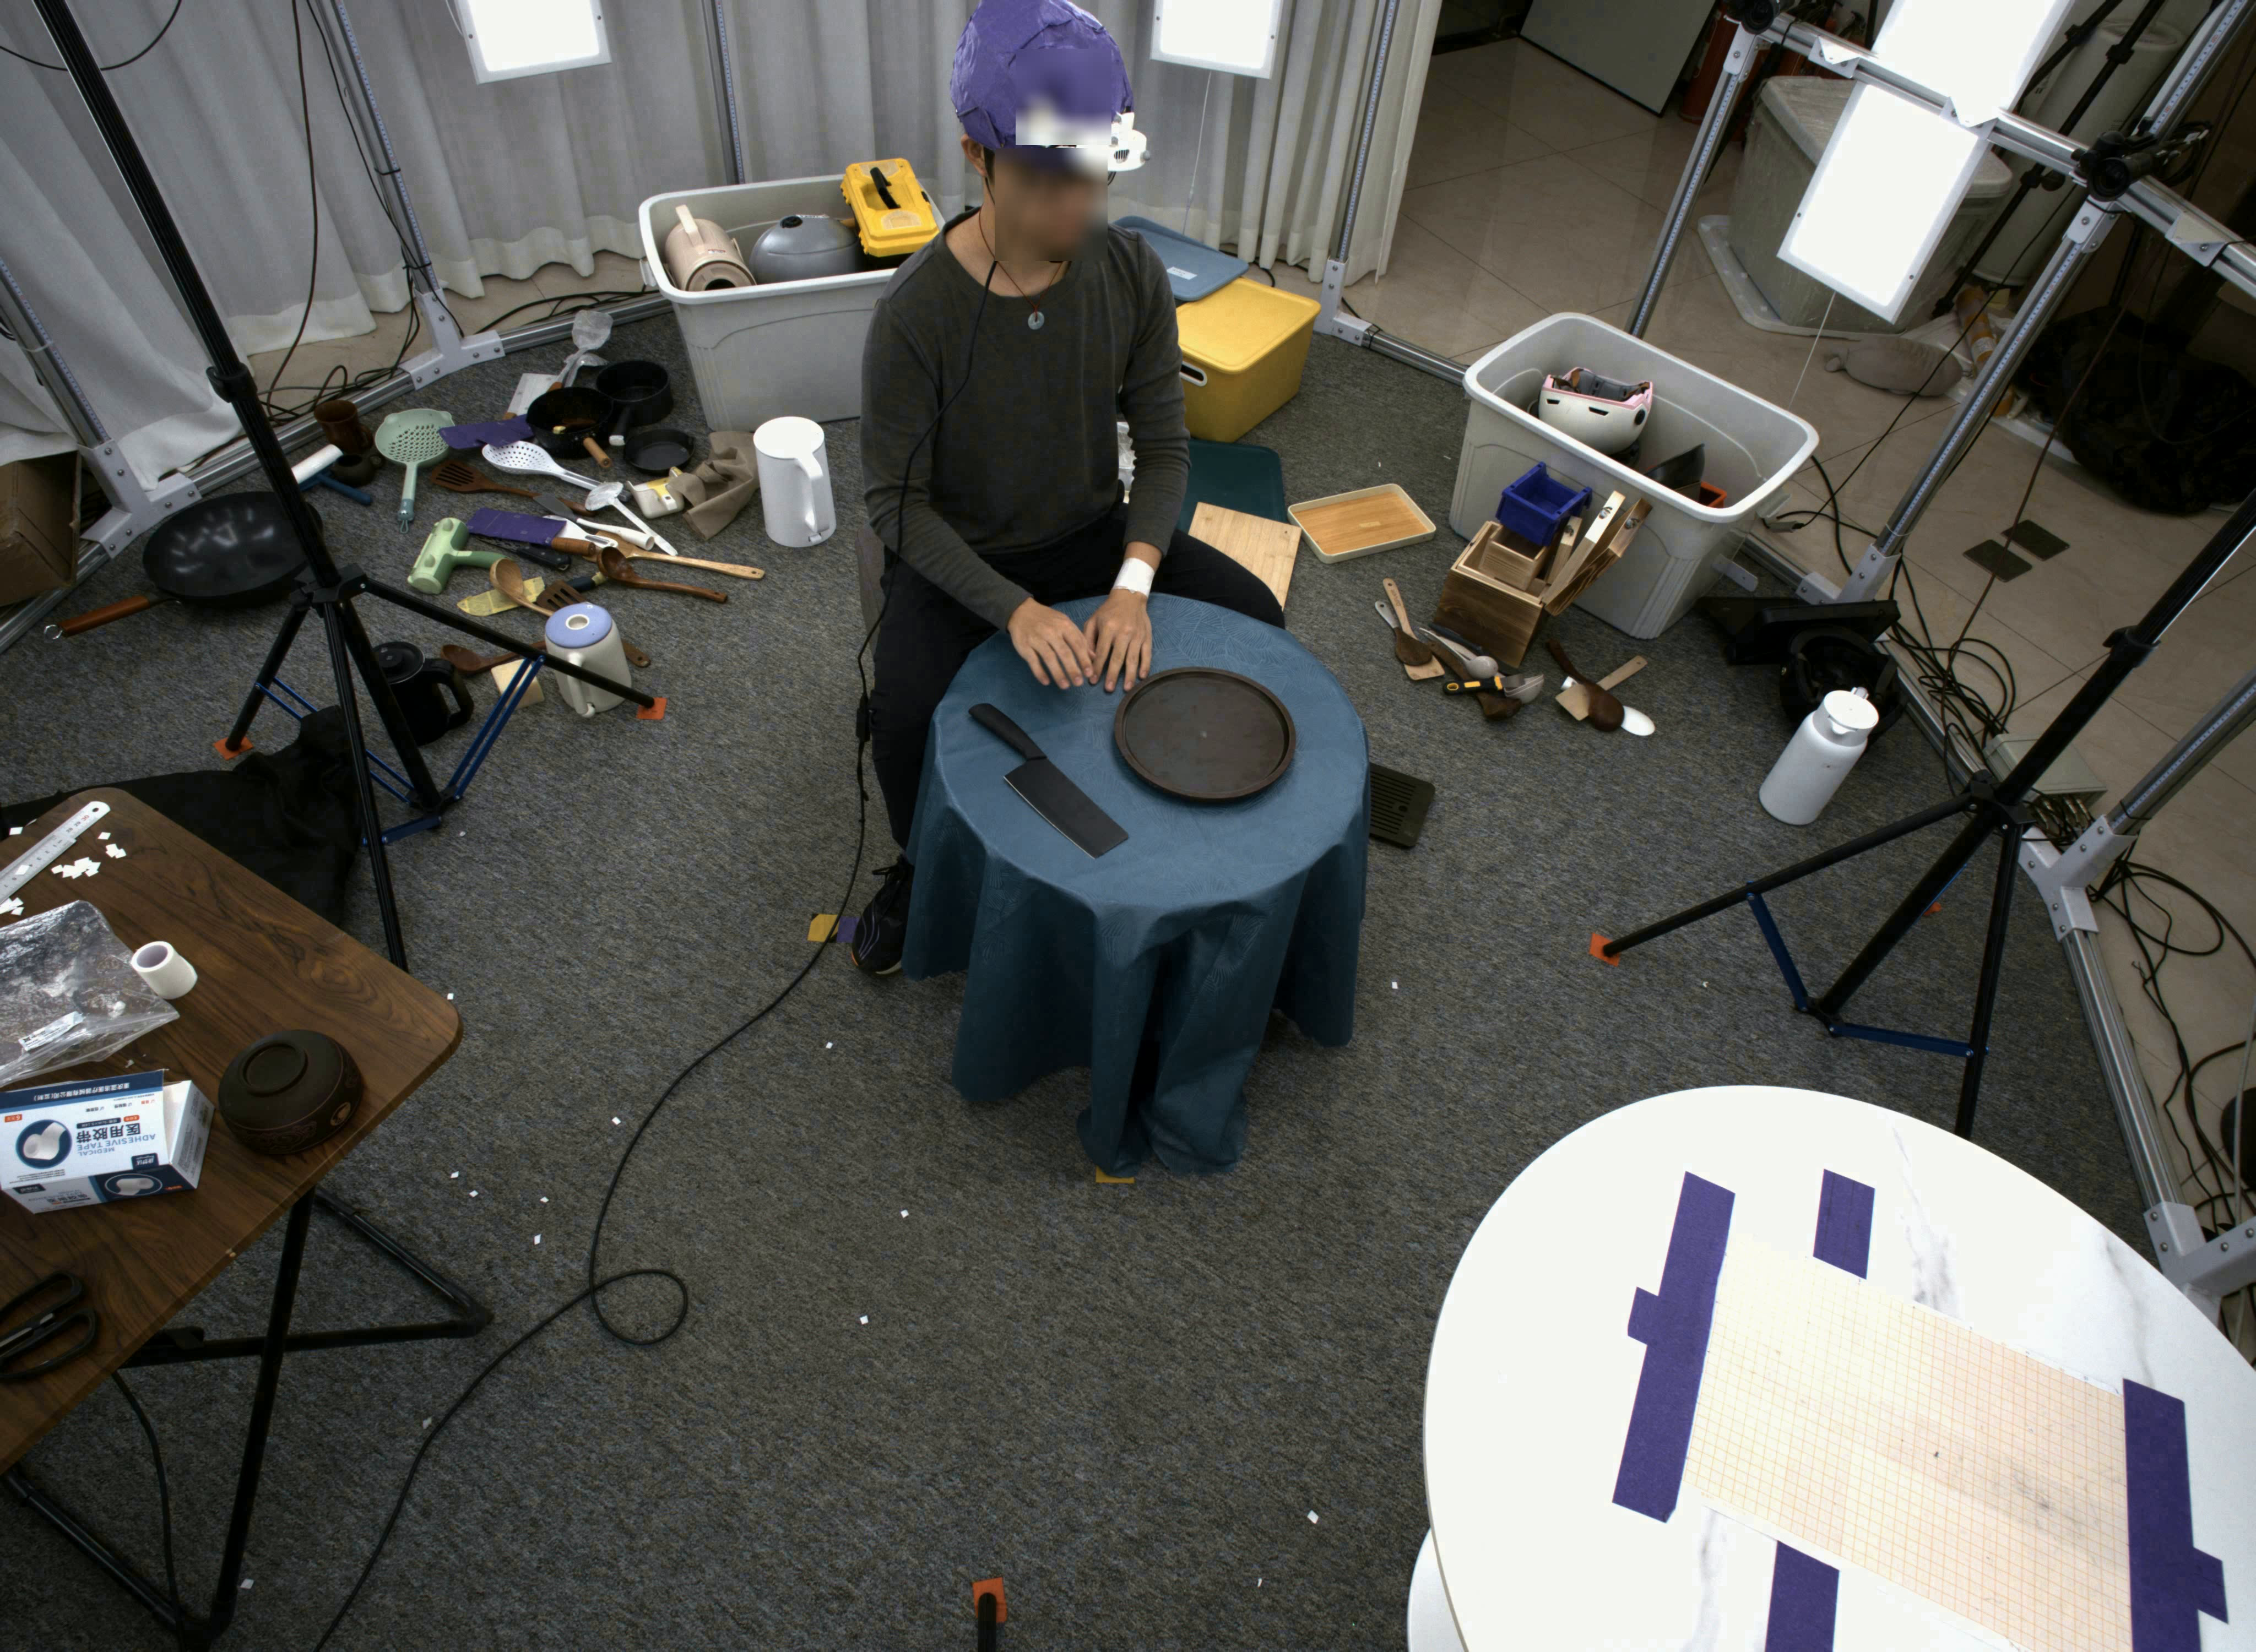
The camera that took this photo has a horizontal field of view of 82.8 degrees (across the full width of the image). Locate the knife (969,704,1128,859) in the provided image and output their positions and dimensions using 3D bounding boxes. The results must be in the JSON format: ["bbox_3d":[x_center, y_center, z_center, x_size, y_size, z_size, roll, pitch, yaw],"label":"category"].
[{"bbox_3d":[-0.118,-0.065,1.707,0.081,0.020,0.308,-29,58,-24],"label":"knife"}]

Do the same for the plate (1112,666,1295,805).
[{"bbox_3d":[0.104,-0.127,1.770,0.254,0.028,0.261,1,50,-2],"label":"plate"}]
